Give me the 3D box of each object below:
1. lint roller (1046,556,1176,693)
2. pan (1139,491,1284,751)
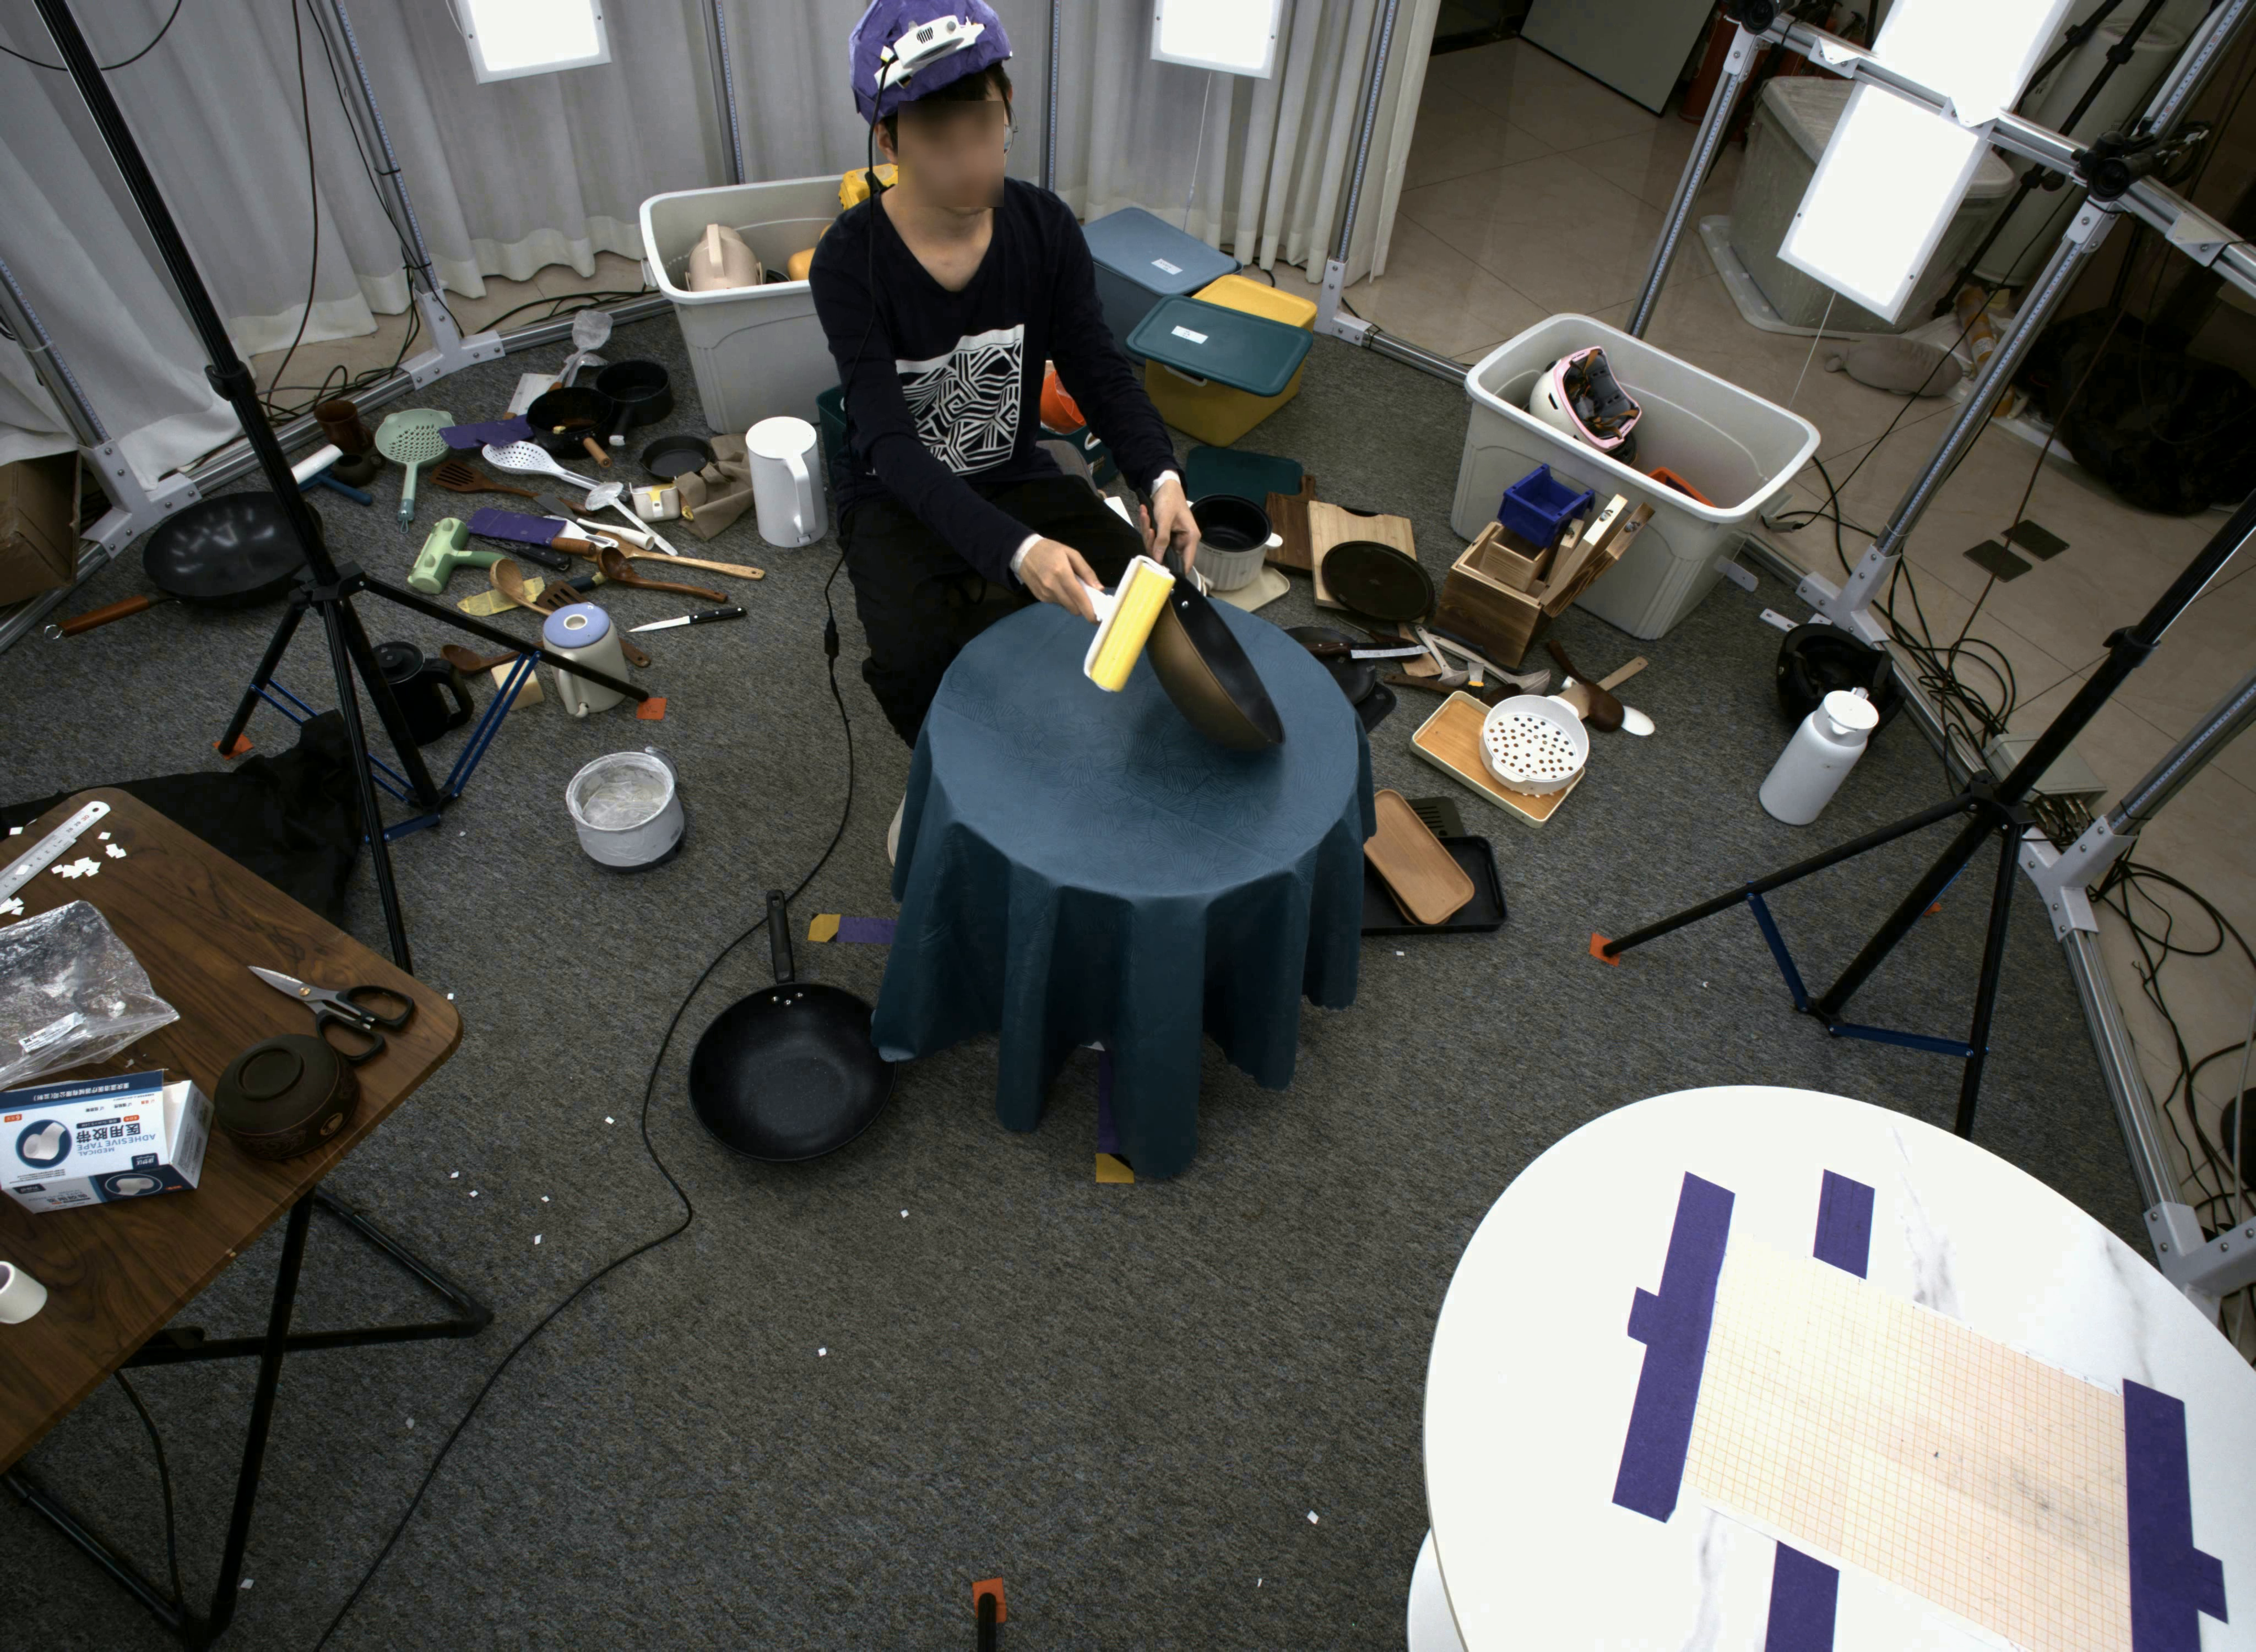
[{"bbox_3d":[-0.047,-0.287,1.663,0.195,0.172,0.051,35,17,28],"label":"lint roller"},{"bbox_3d":[0.069,-0.281,1.768,0.086,0.283,0.473,-33,59,18],"label":"pan"}]
